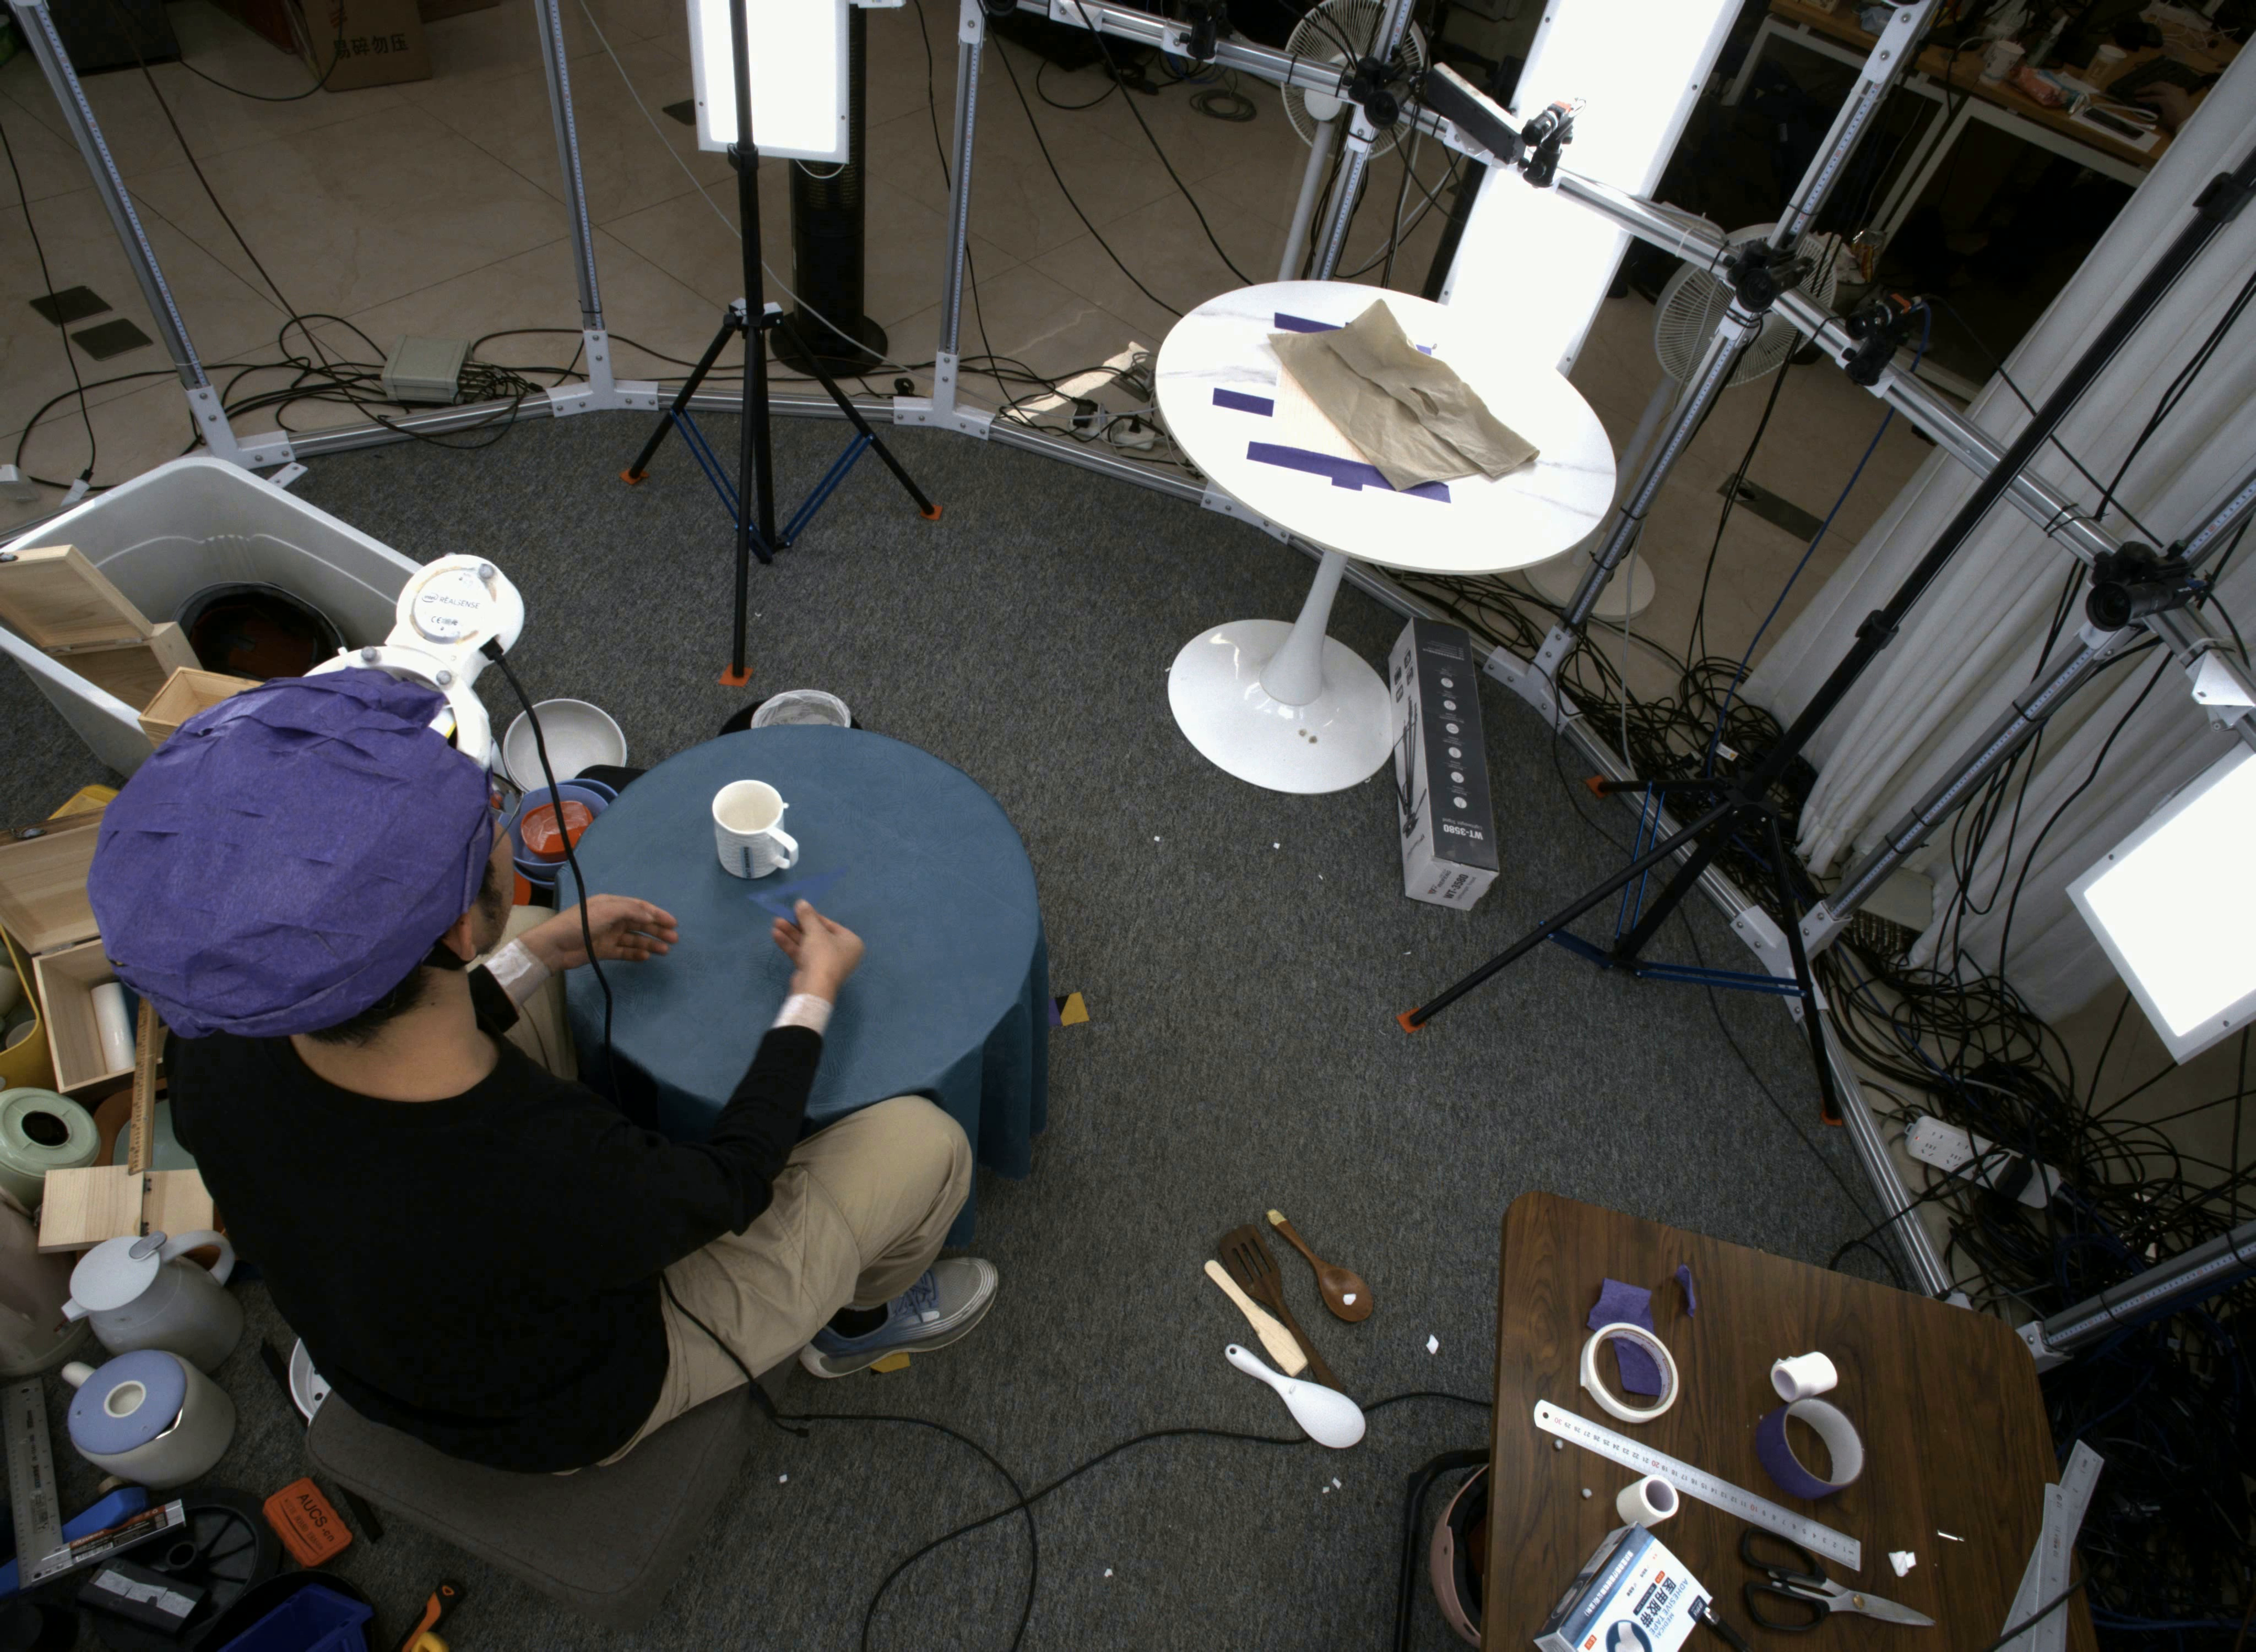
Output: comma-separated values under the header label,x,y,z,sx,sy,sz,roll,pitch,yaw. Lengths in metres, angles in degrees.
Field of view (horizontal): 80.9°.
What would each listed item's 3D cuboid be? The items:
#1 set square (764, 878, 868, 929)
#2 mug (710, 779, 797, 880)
label,x,y,z,sx,sy,sz,roll,pitch,yaw
set square,-0.367,0.092,1.565,0.133,0.007,0.059,-15,51,-35
mug,-0.466,0.013,1.632,0.116,0.104,0.084,30,52,11
